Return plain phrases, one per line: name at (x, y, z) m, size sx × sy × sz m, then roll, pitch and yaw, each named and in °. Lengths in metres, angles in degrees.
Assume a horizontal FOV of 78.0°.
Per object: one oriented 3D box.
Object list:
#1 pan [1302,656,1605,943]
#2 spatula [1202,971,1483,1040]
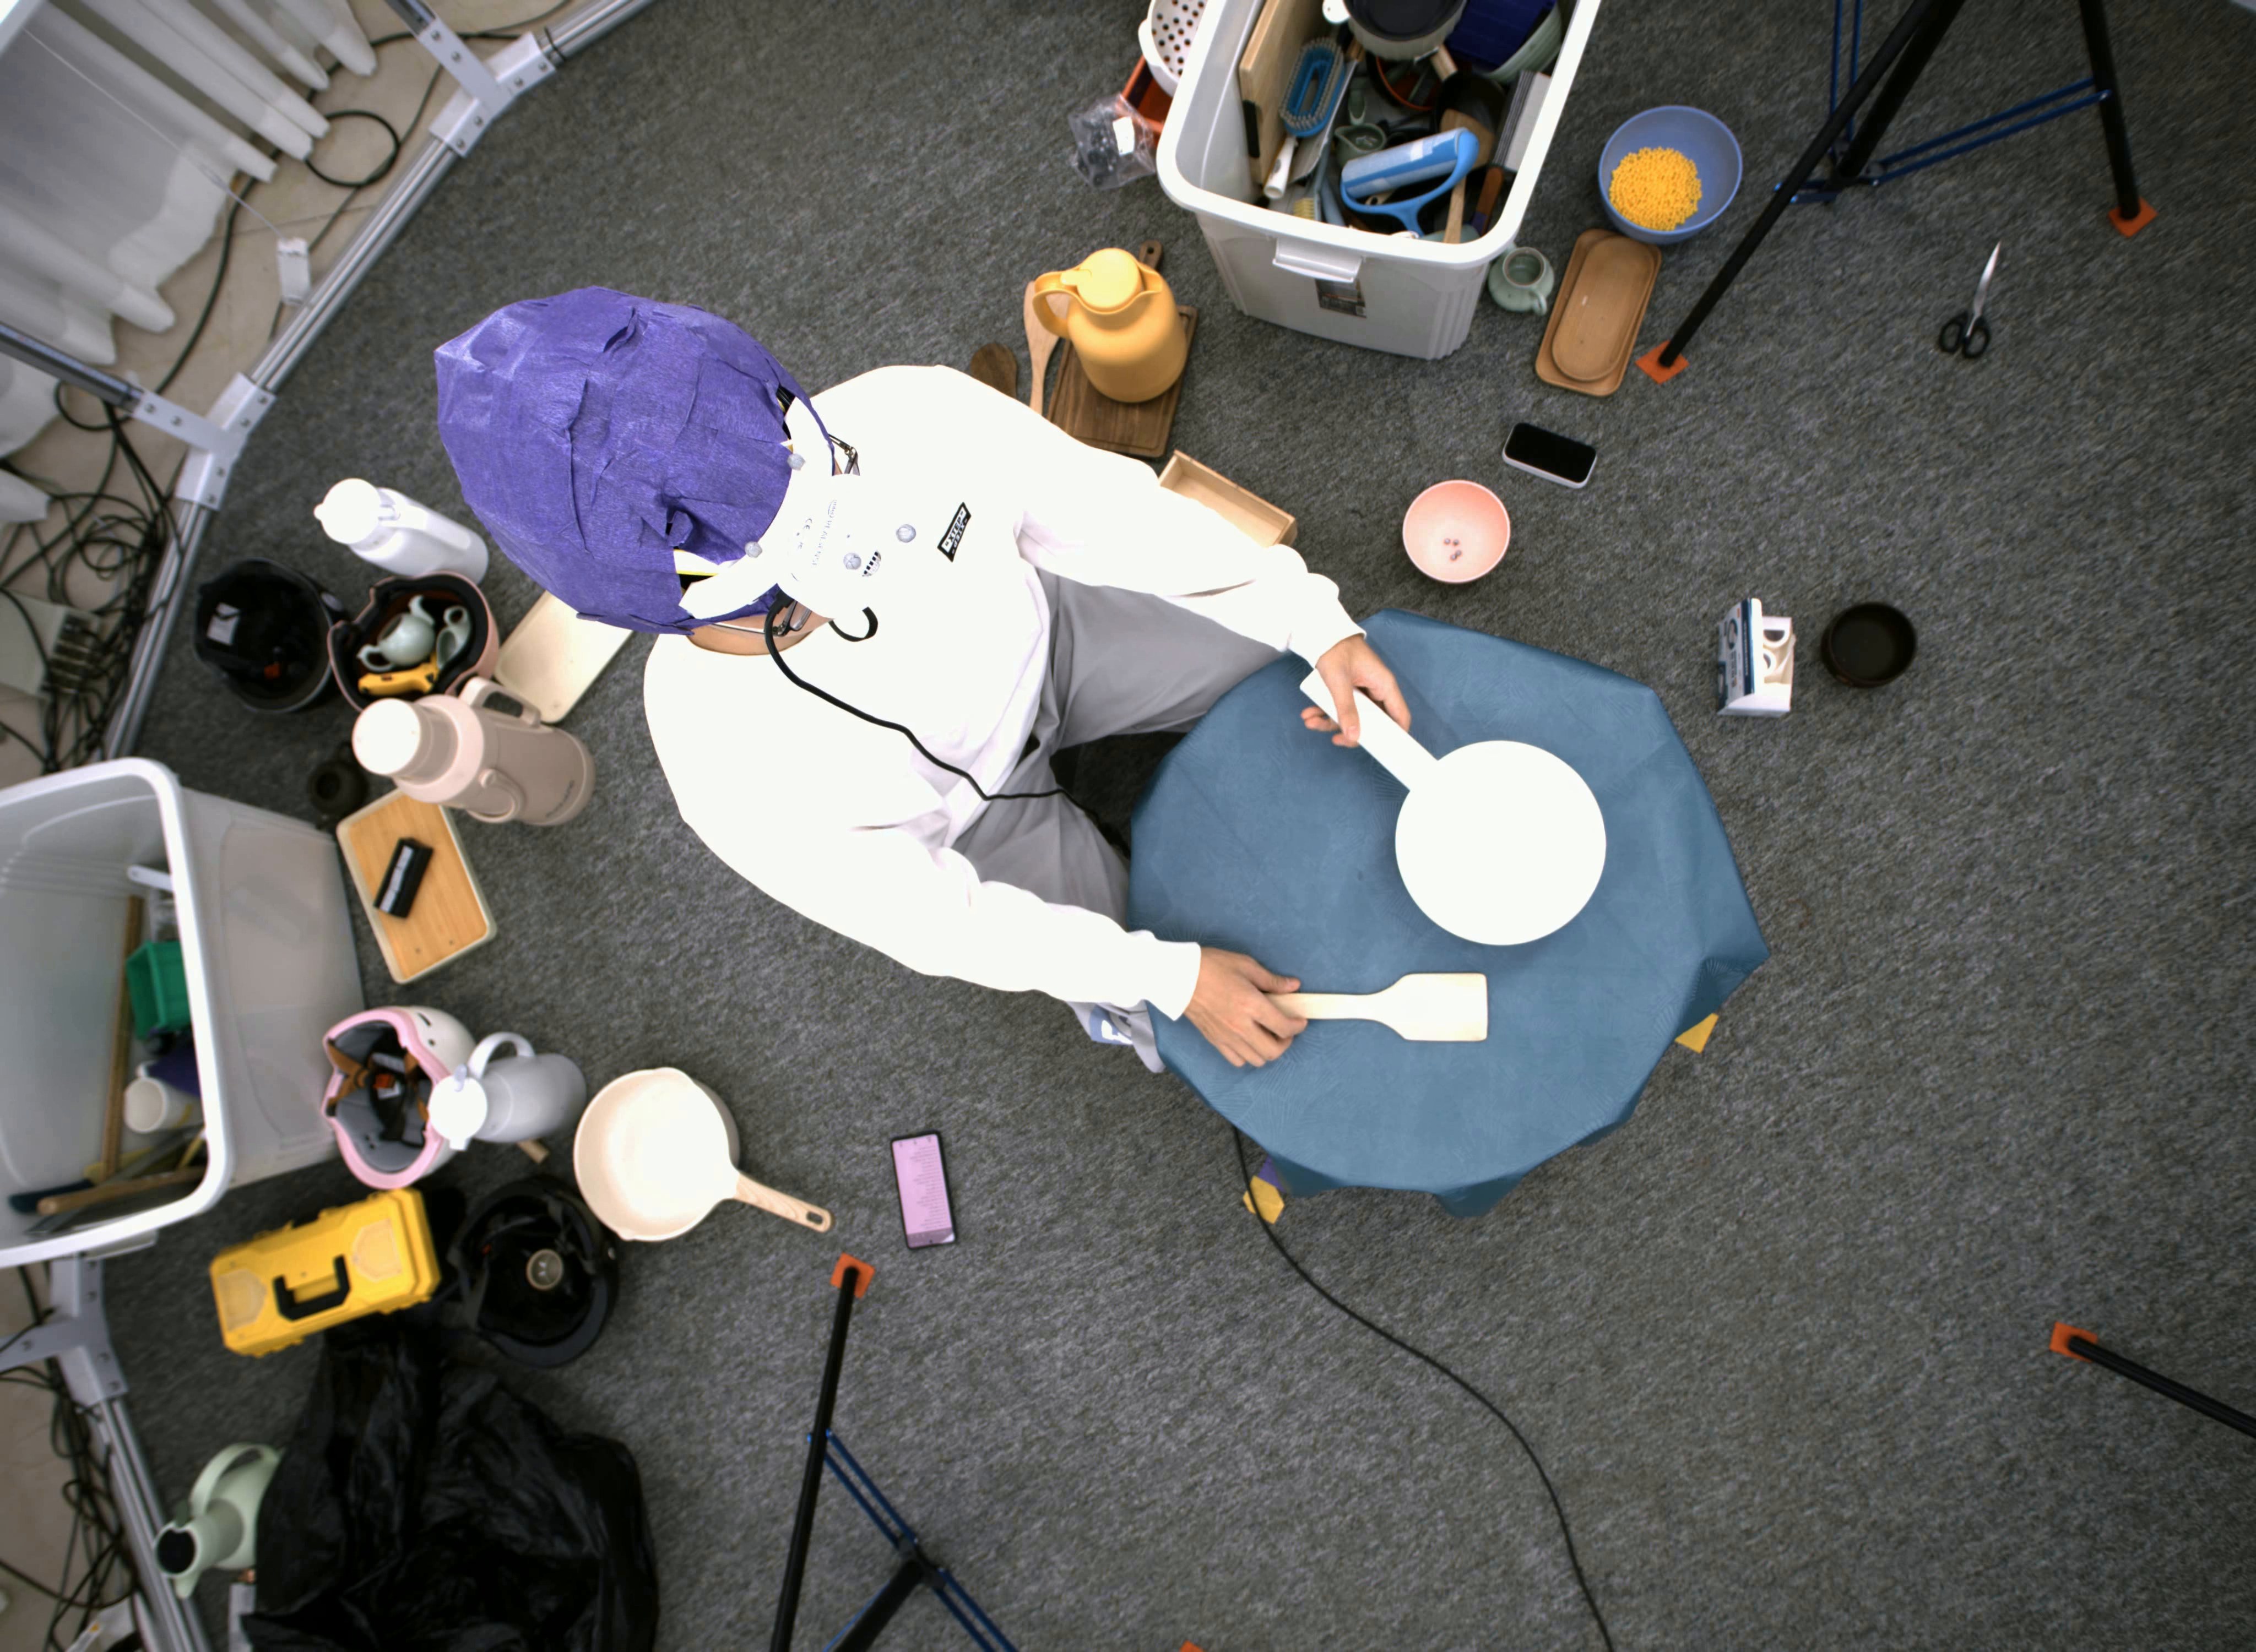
pan at (0.319, -0.035, 1.407) m, size 0.353 × 0.102 × 0.202 m, roll 44°, pitch 95°, yaw 11°
spatula at (0.224, 0.188, 1.456) m, size 0.294 × 0.010 × 0.072 m, roll -1°, pitch 87°, yaw 9°
